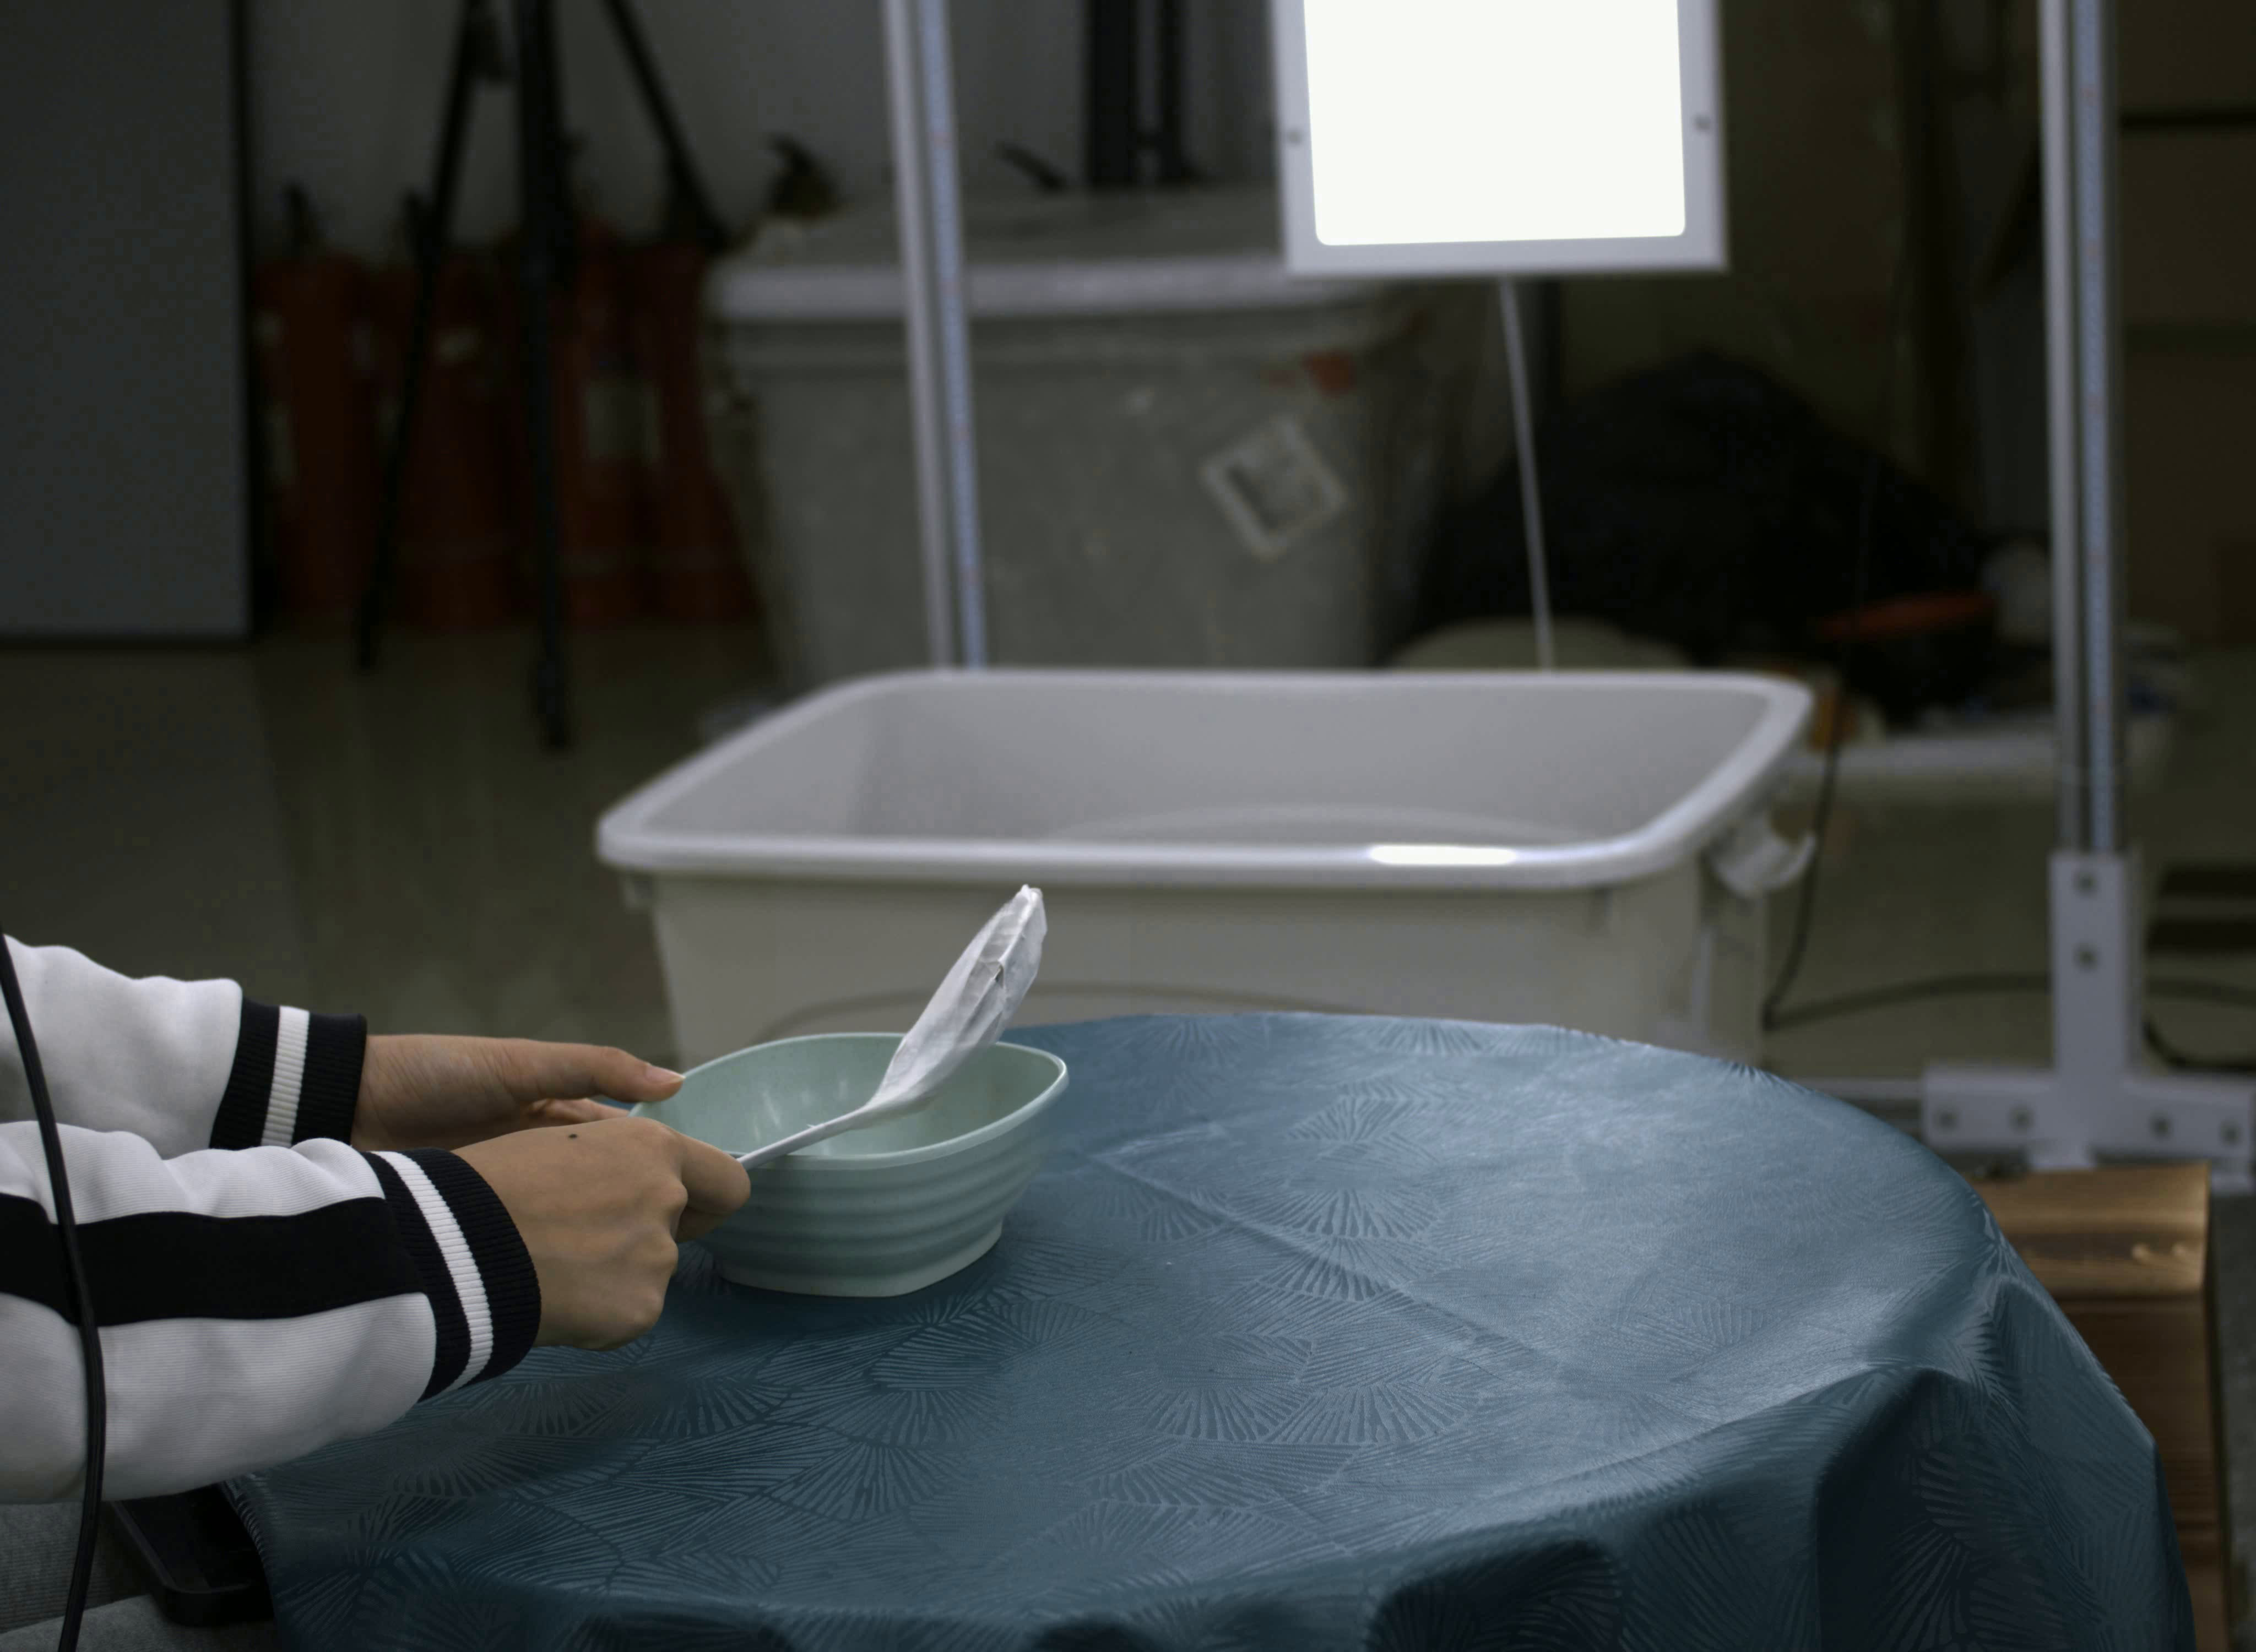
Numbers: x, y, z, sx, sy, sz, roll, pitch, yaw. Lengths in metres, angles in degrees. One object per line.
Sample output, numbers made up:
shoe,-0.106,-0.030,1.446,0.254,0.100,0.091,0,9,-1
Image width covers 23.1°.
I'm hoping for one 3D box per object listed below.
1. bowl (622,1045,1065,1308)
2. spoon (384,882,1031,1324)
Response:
bowl,-0.093,0.120,1.850,0.151,0.059,0.151,-5,13,0
spoon,-0.136,0.091,1.780,0.271,0.060,0.102,-21,-21,-33
